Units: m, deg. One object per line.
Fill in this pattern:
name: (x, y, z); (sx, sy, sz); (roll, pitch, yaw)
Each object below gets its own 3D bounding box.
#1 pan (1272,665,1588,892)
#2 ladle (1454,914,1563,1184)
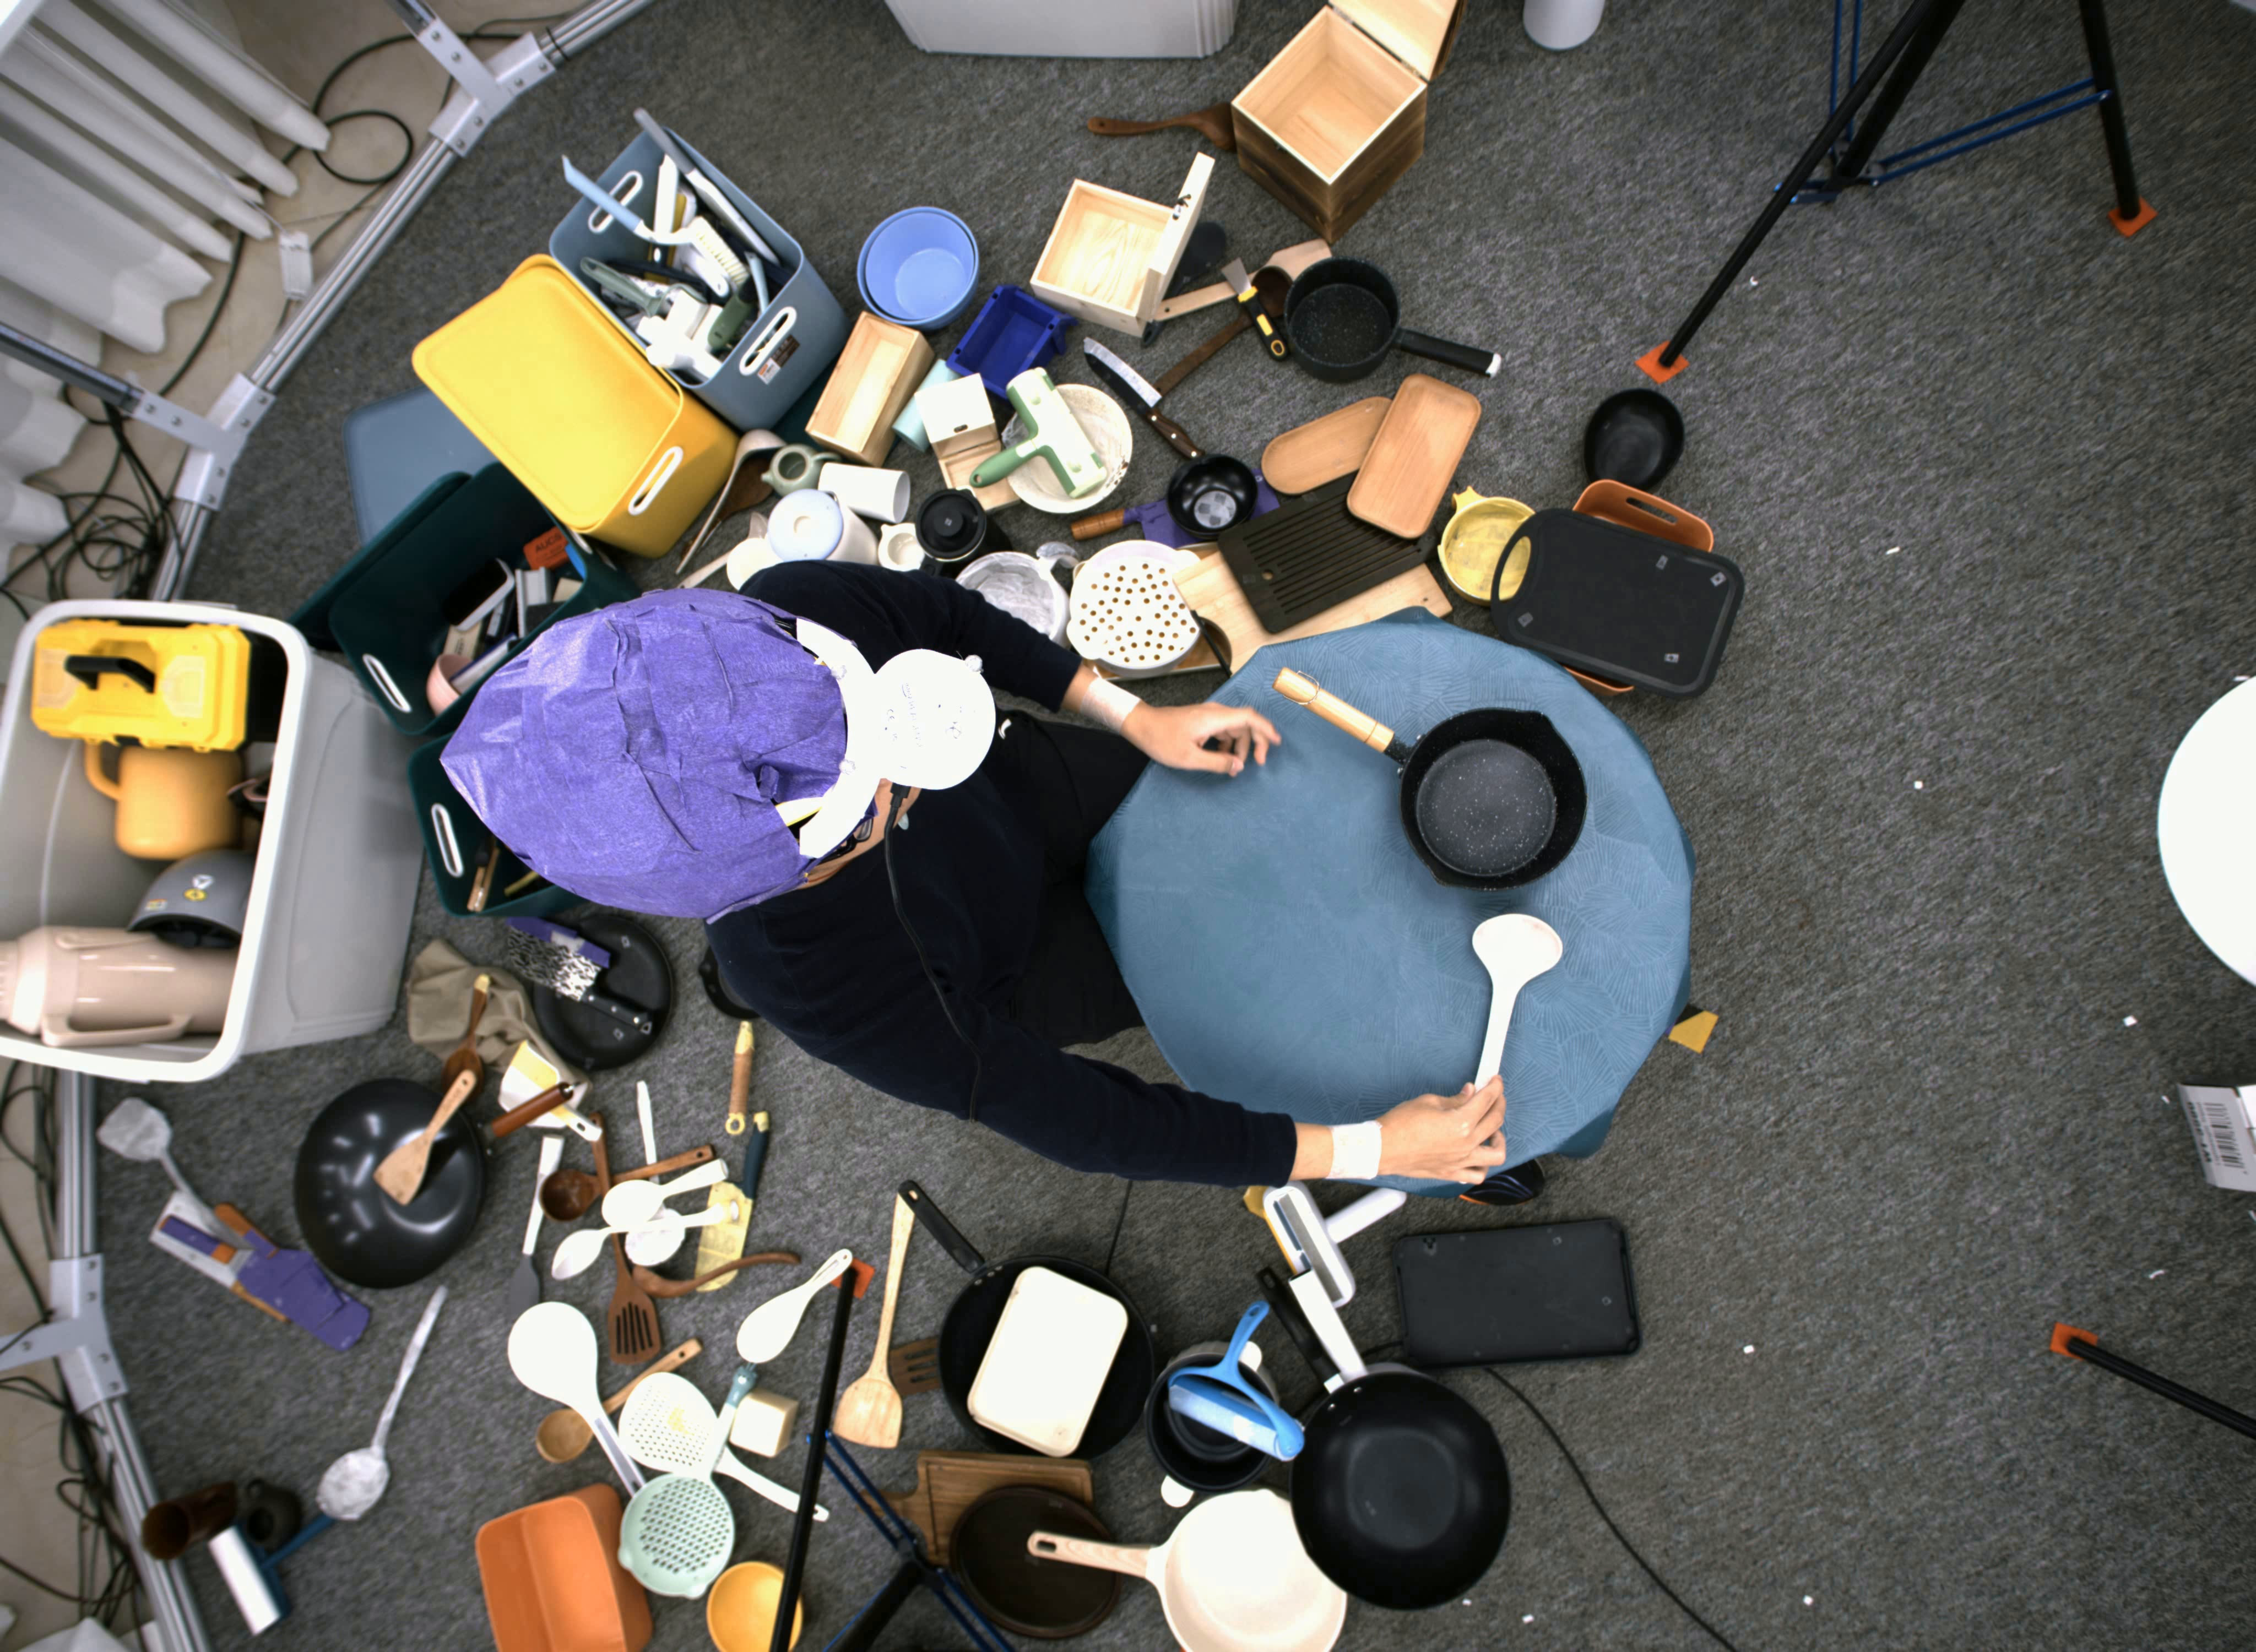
pan: (0.299, -0.064, 1.407); (0.342, 0.108, 0.208); (29, 93, 9)
ladle: (0.371, 0.222, 1.385); (0.089, 0.070, 0.272); (14, 82, 2)
